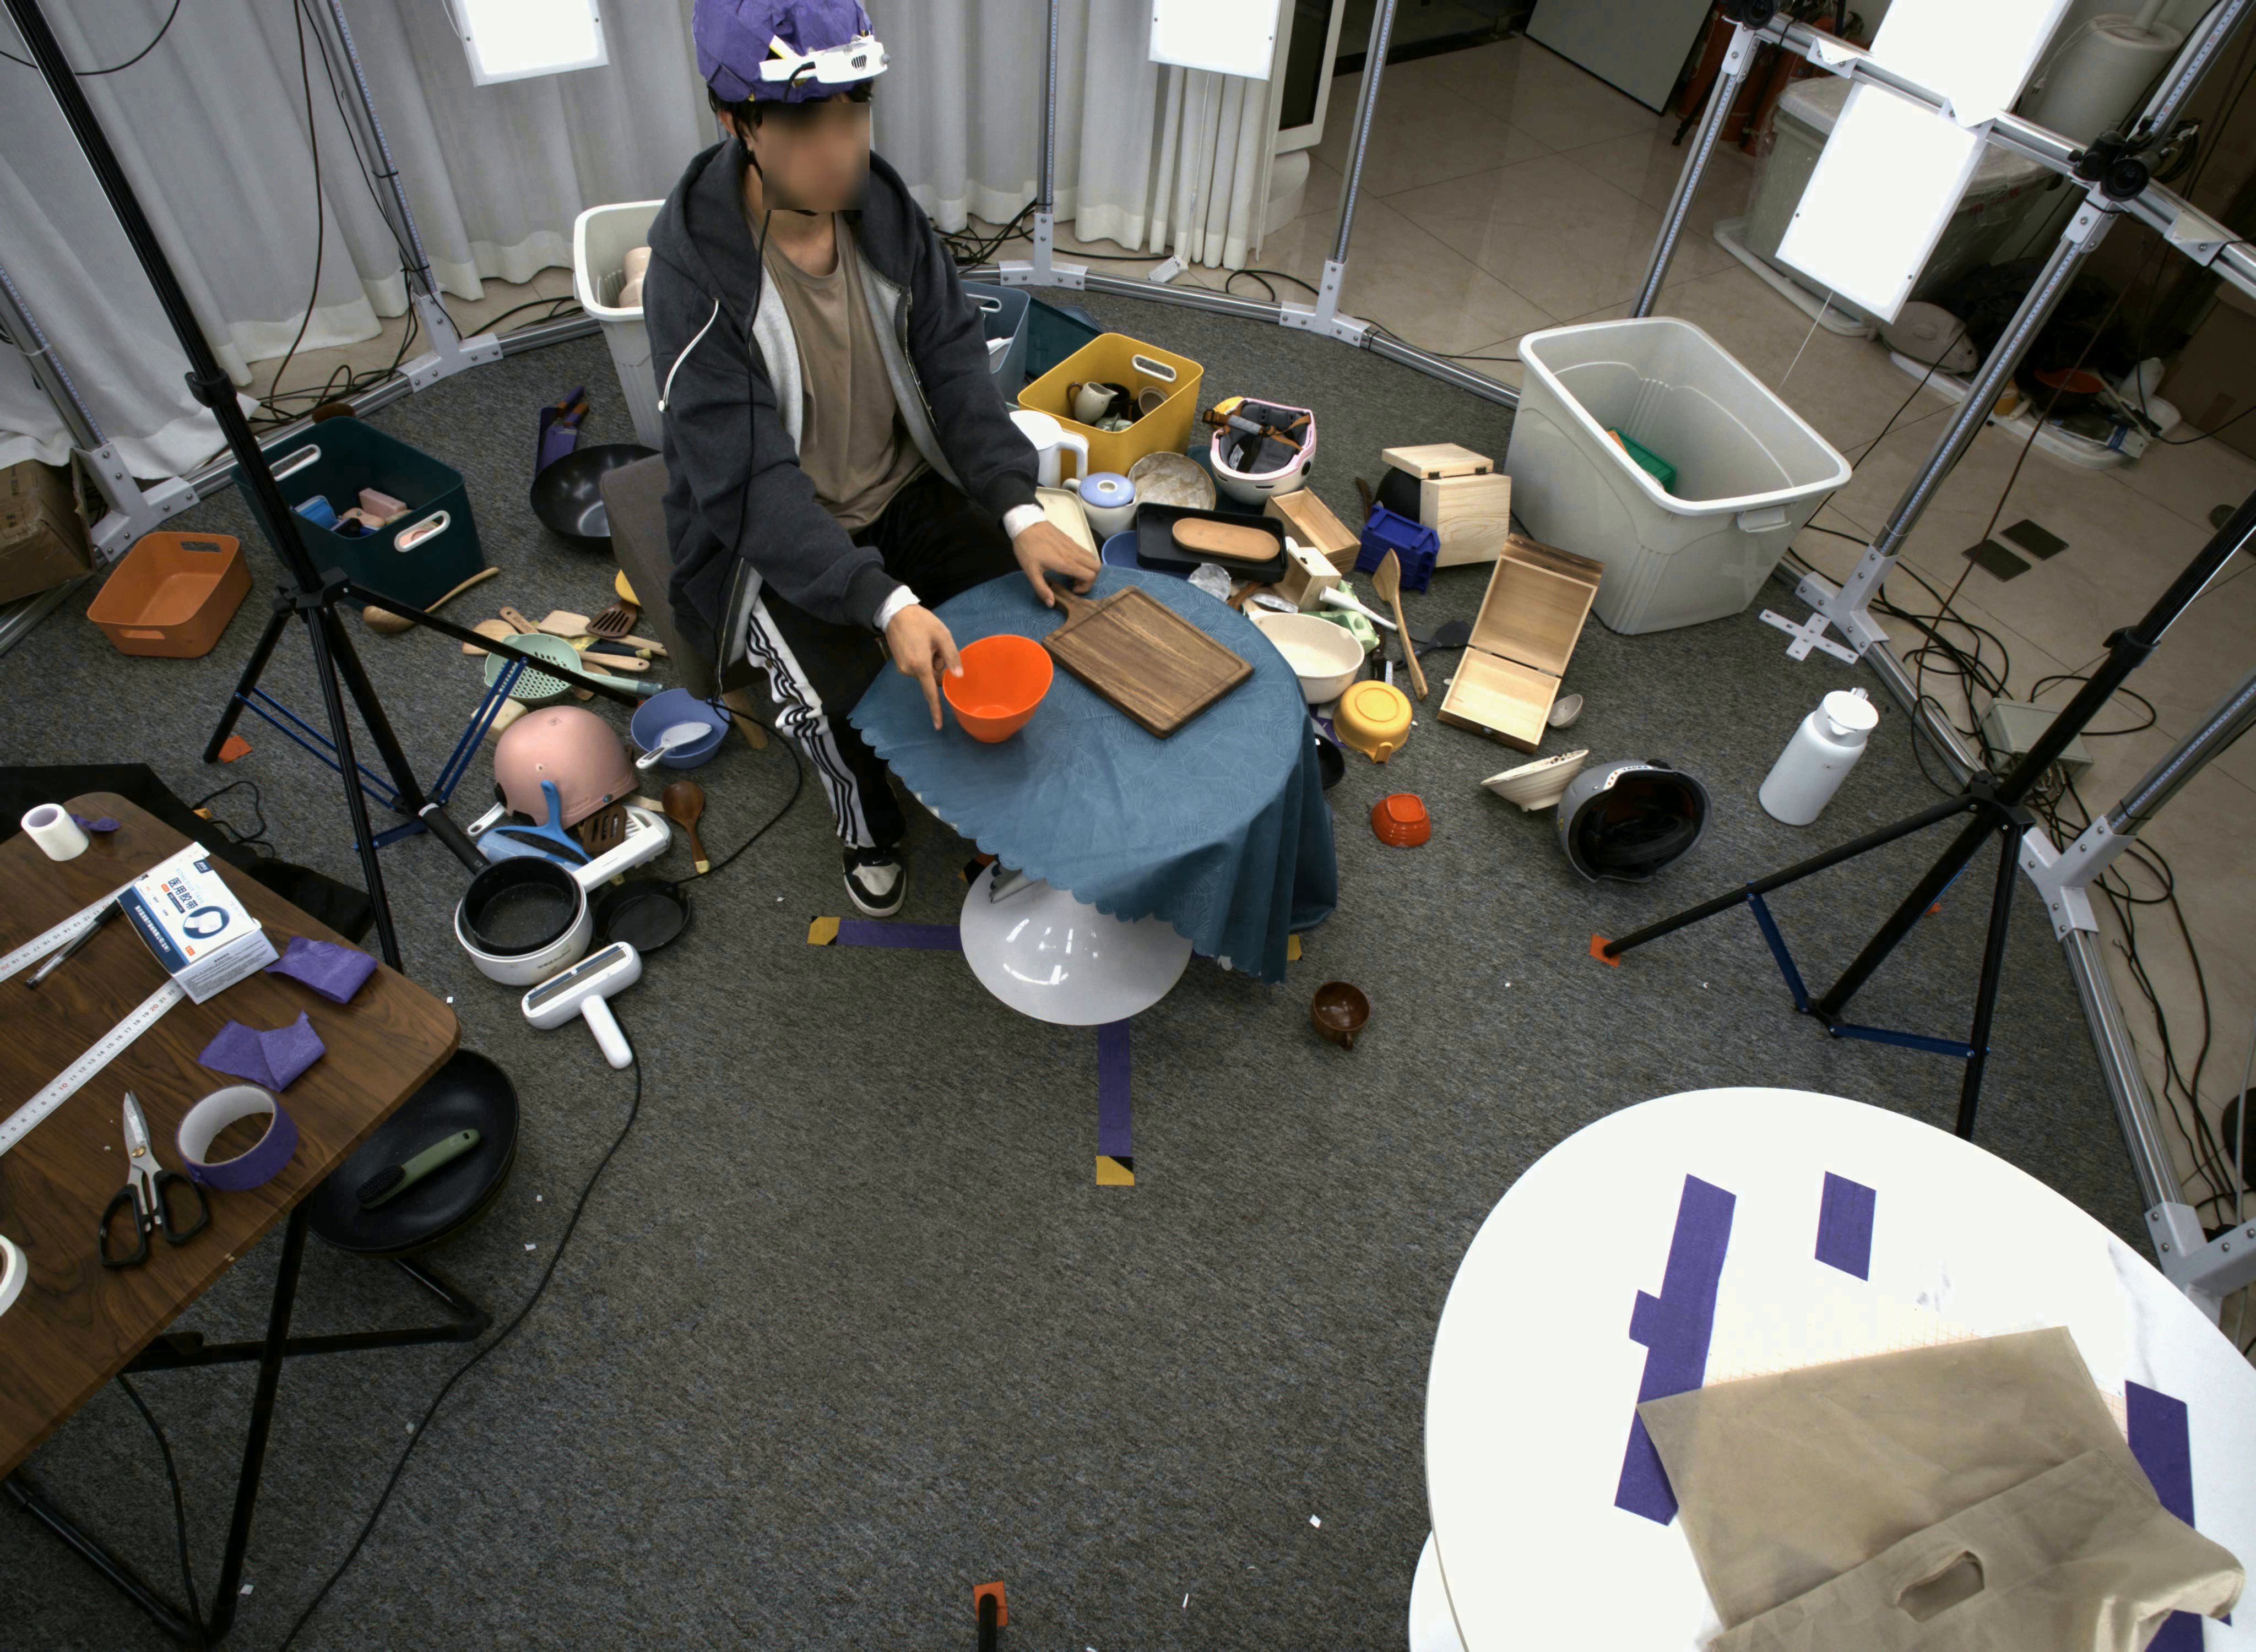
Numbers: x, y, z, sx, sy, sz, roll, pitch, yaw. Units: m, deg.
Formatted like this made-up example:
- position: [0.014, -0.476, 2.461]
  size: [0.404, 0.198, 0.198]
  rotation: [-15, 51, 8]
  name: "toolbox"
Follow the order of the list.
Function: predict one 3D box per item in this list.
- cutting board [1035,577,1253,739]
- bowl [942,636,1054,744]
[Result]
- position: [-0.008, -0.273, 1.890]
  size: [0.357, 0.022, 0.203]
  rotation: [38, 57, 26]
  name: "cutting board"
- position: [-0.175, -0.173, 1.739]
  size: [0.148, 0.102, 0.152]
  rotation: [2, 50, -3]
  name: "bowl"
